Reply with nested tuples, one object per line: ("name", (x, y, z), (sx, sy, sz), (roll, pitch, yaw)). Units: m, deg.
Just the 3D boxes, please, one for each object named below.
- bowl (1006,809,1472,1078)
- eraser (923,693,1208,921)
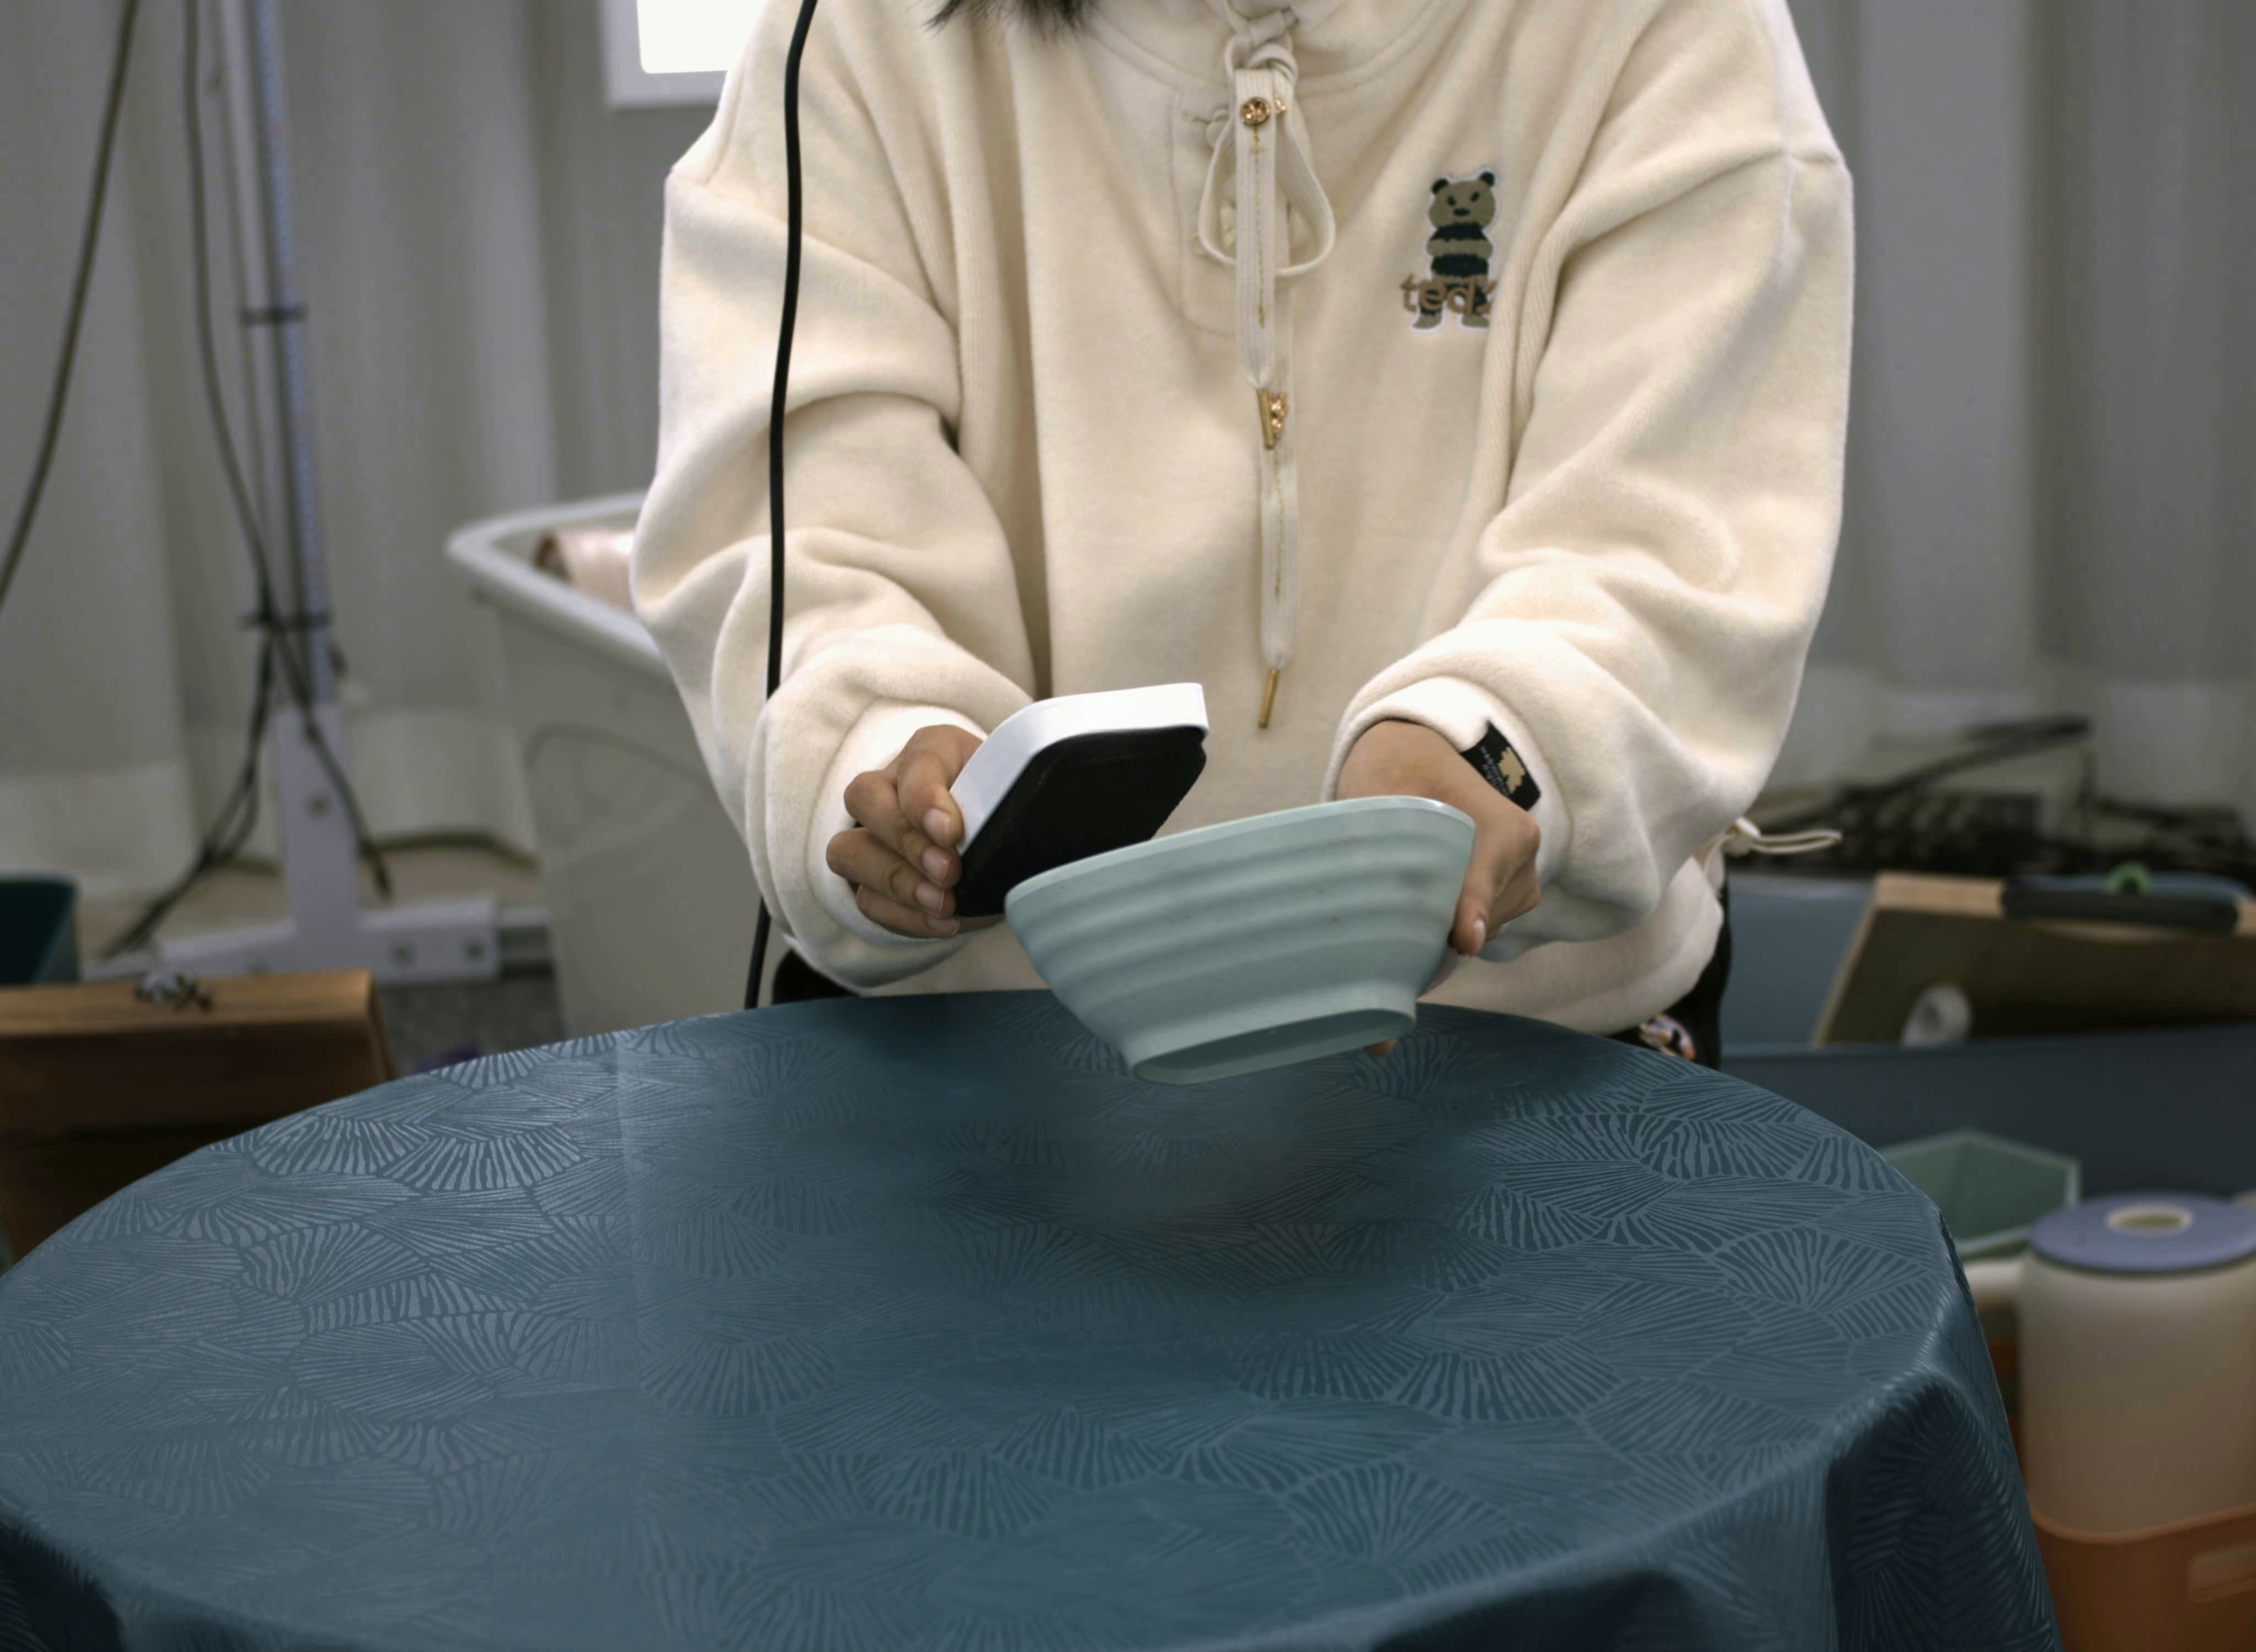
("bowl", (0.037, 0.039, 1.625), (0.151, 0.059, 0.151), (-9, -9, -2))
("eraser", (-0.018, -0.008, 1.691), (0.063, 0.035, 0.130), (-6, -20, -21))
